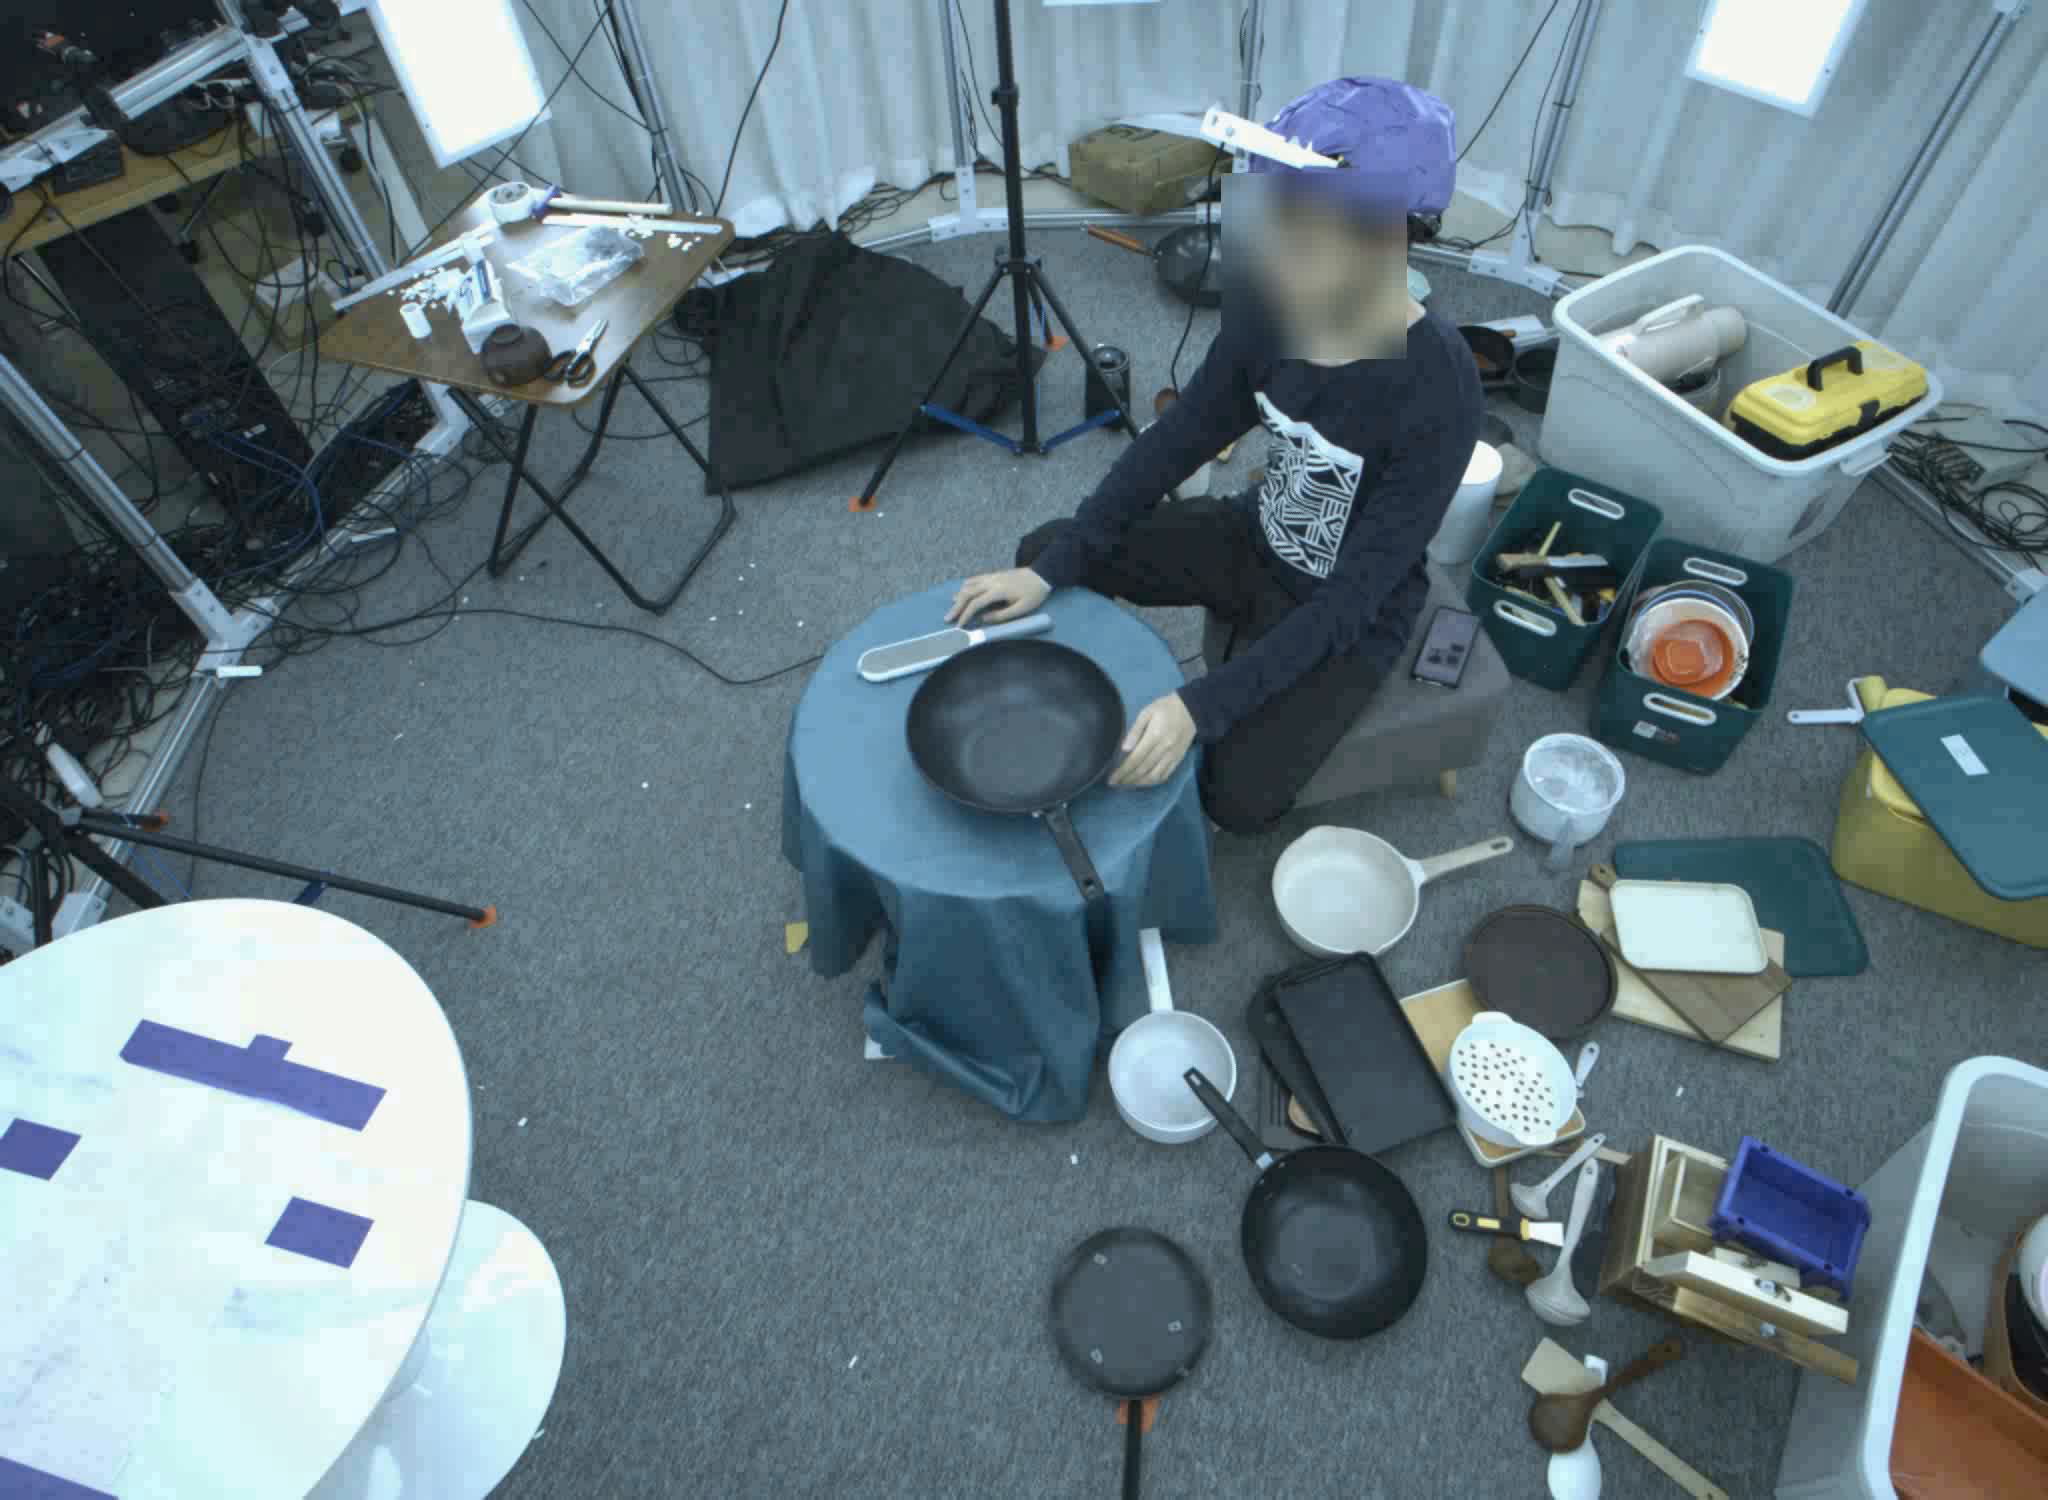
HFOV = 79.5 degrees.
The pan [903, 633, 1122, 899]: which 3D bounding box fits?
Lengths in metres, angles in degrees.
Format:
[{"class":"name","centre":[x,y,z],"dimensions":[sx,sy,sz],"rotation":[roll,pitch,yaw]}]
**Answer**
[{"class":"pan","centre":[0.013,0.033,1.704],"dimensions":[0.312,0.113,0.468],"rotation":[-18,56,-9]}]

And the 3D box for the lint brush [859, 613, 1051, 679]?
[{"class":"lint brush","centre":[-0.106,-0.165,1.899],"dimensions":[0.311,0.021,0.059],"rotation":[-15,49,-9]}]
